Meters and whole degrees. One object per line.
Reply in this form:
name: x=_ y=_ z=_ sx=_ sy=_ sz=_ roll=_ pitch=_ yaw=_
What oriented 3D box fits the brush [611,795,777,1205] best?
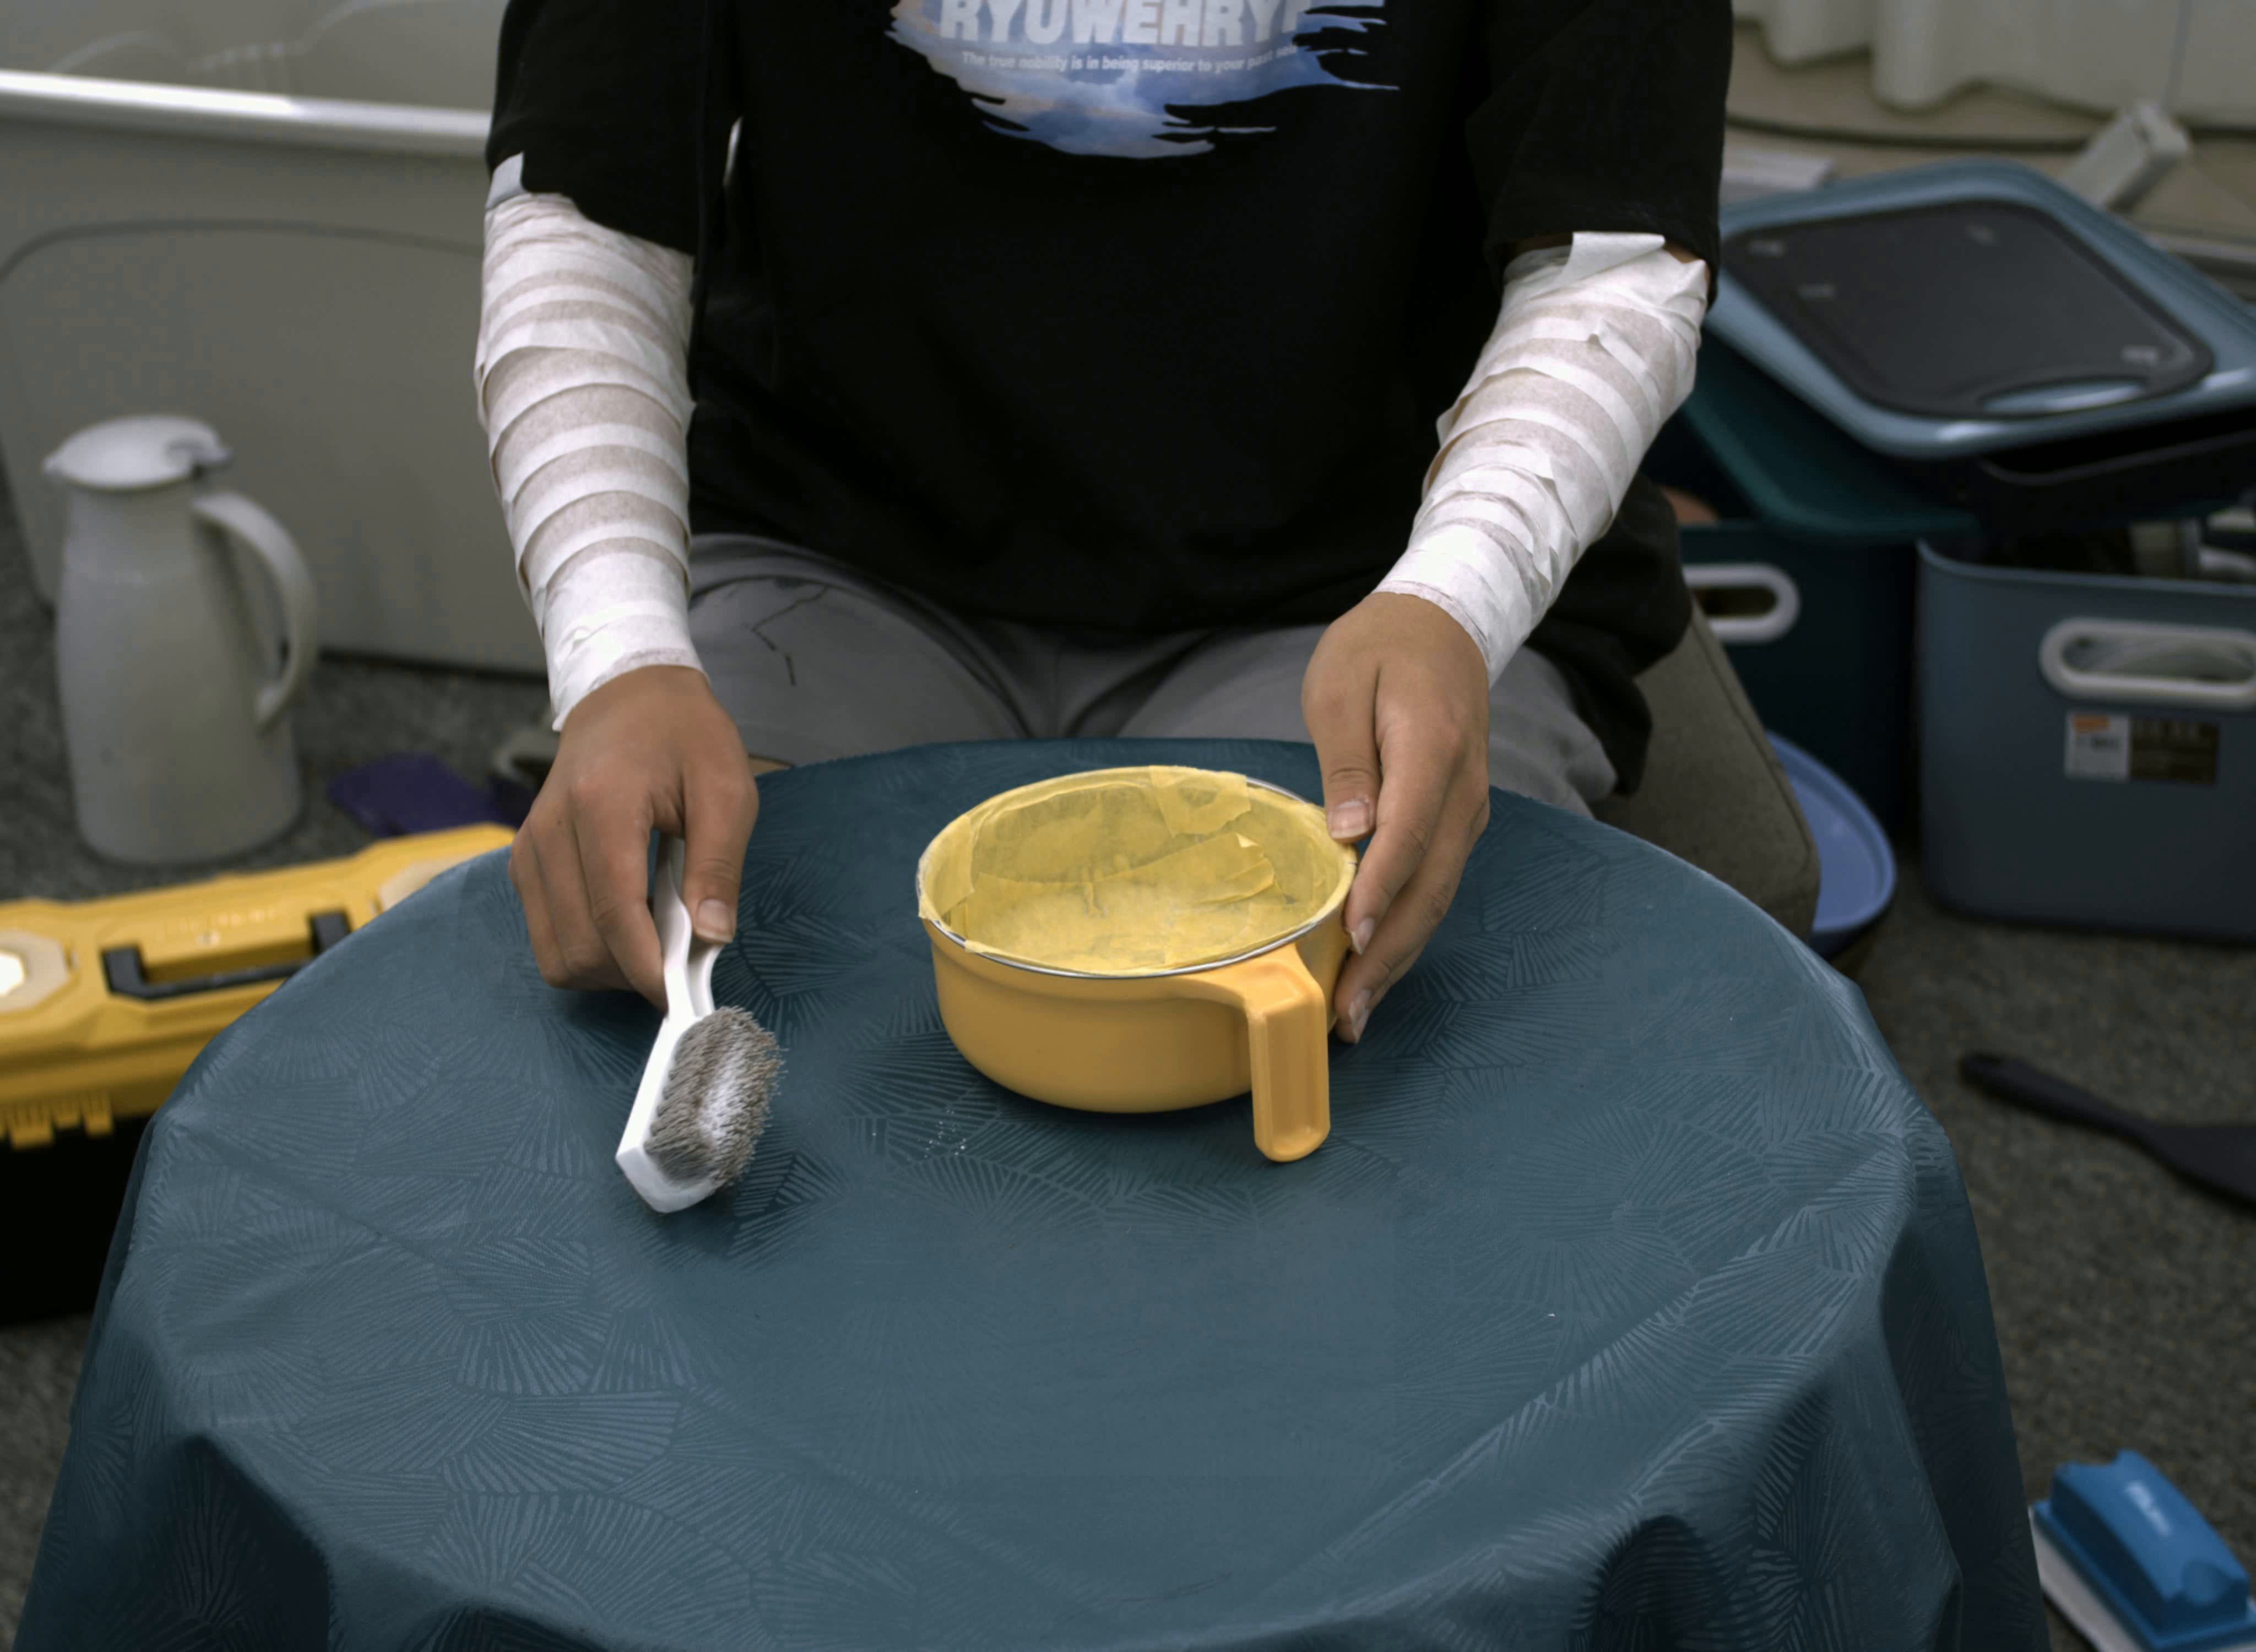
brush: x=-0.141 y=0.047 z=1.942 sx=0.049 sy=0.034 sz=0.248 roll=-40 pitch=22 yaw=23

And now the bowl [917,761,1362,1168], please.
bowl: x=0.010 y=0.047 z=1.930 sx=0.154 sy=0.073 sz=0.180 roll=-14 pitch=29 yaw=-30
